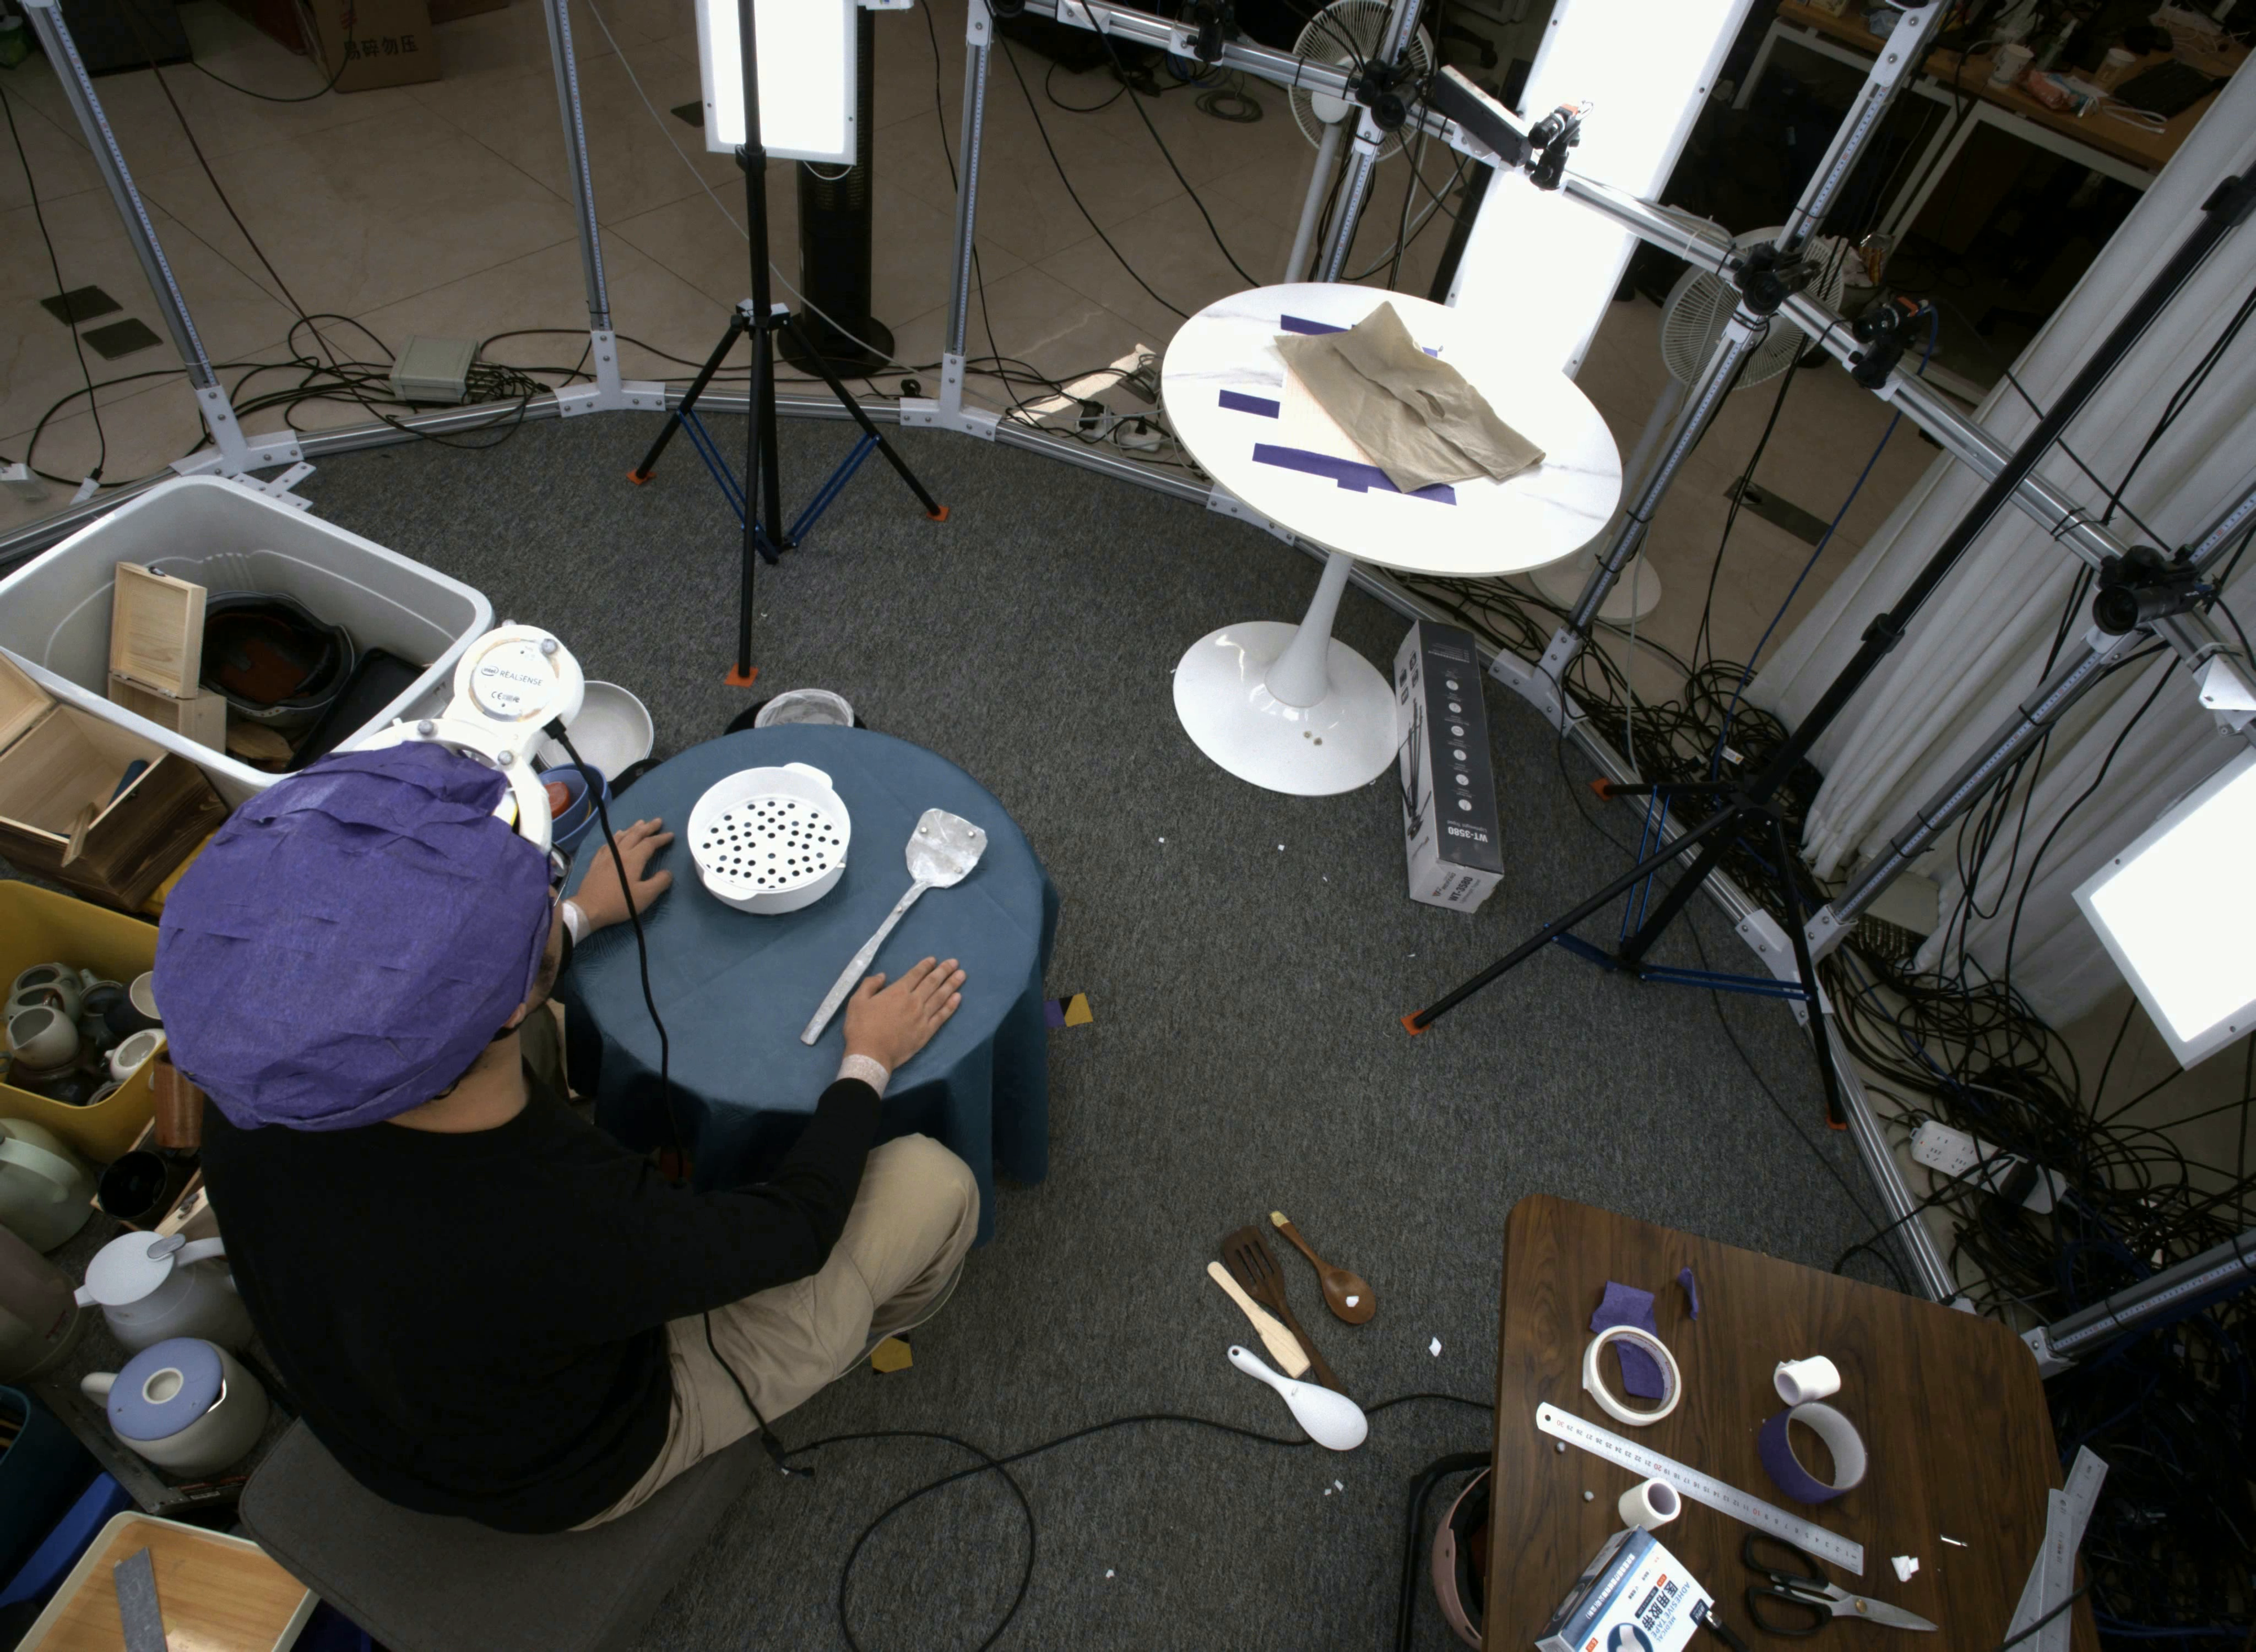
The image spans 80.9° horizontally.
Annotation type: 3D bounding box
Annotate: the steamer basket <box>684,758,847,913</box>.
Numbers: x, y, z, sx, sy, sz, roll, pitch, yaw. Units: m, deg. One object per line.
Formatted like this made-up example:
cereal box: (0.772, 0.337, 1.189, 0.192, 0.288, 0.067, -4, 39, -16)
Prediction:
steamer basket: (-0.460, 0.015, 1.653, 0.199, 0.070, 0.229, 22, 53, 4)

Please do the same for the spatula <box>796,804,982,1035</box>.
spatula: (-0.307, 0.117, 1.638, 0.097, 0.045, 0.363, 28, 52, 5)
